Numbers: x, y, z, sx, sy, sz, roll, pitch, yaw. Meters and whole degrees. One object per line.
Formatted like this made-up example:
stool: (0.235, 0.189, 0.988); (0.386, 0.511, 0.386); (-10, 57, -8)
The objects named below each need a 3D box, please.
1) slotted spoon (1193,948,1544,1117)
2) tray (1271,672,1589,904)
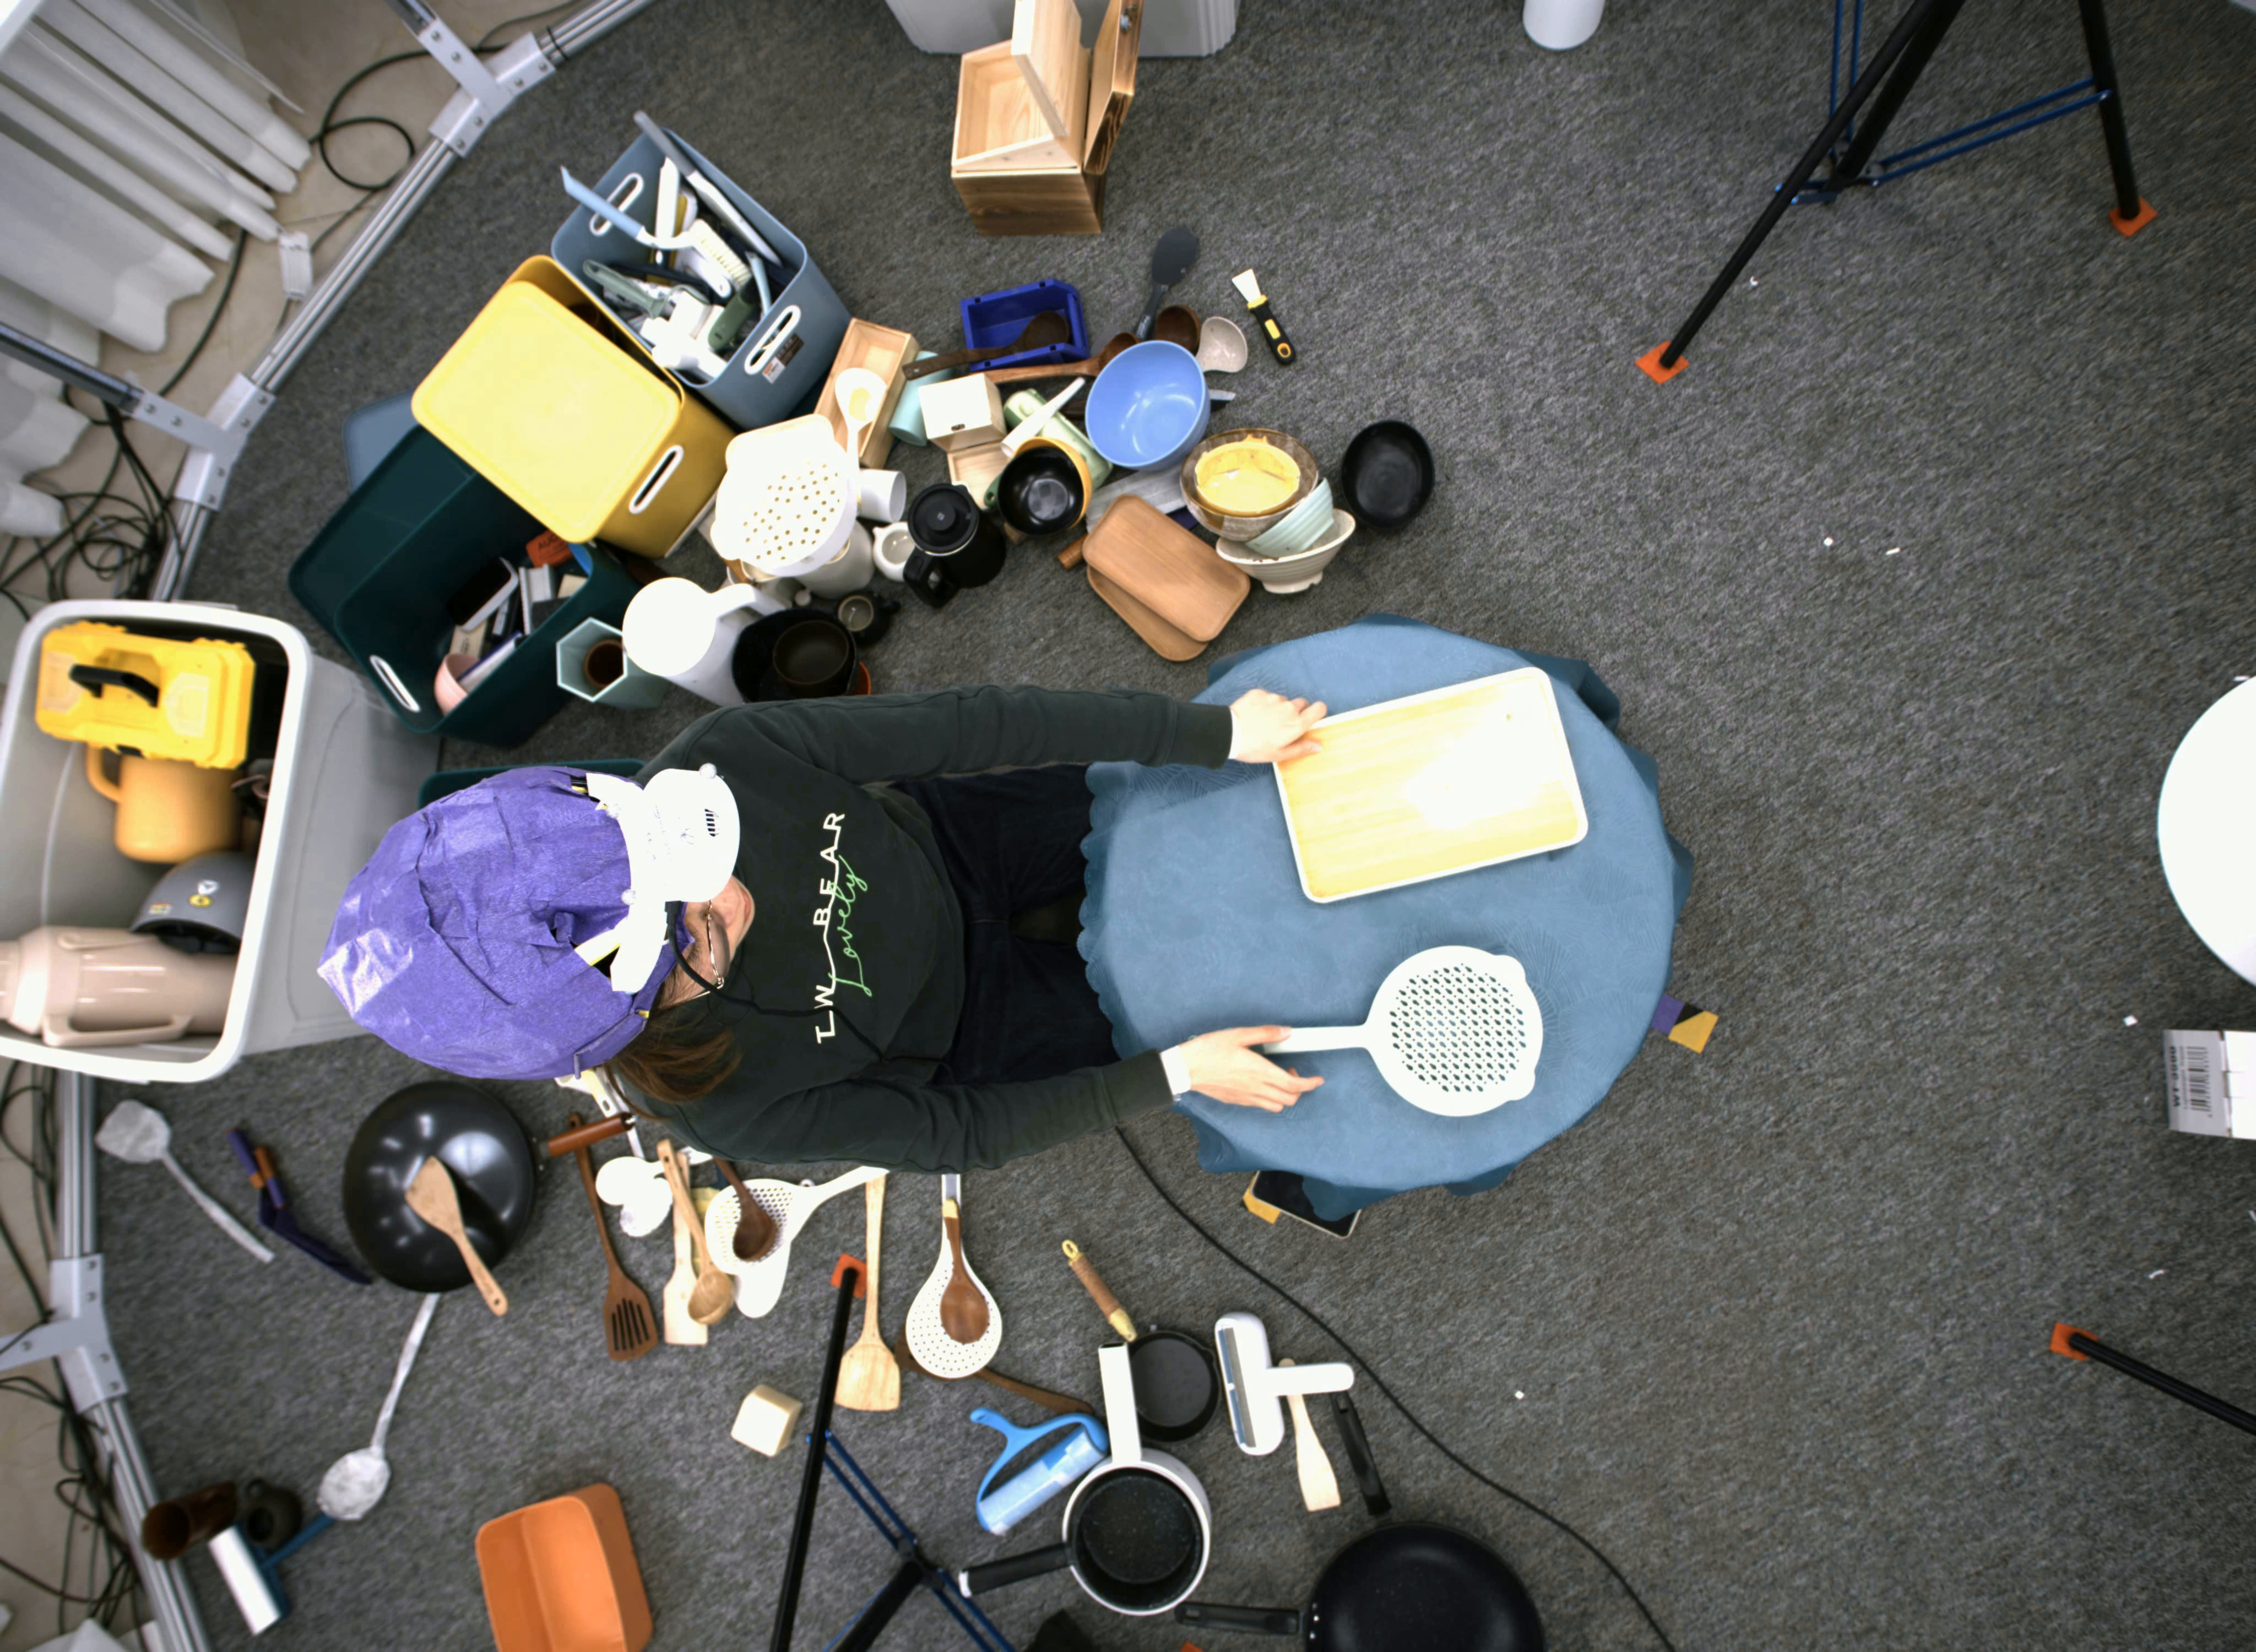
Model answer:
slotted spoon: (0.241, 0.217, 1.428); (0.360, 0.075, 0.168); (-5, 84, 10)
tray: (0.316, -0.041, 1.451); (0.302, 0.027, 0.190); (-13, 84, 9)
